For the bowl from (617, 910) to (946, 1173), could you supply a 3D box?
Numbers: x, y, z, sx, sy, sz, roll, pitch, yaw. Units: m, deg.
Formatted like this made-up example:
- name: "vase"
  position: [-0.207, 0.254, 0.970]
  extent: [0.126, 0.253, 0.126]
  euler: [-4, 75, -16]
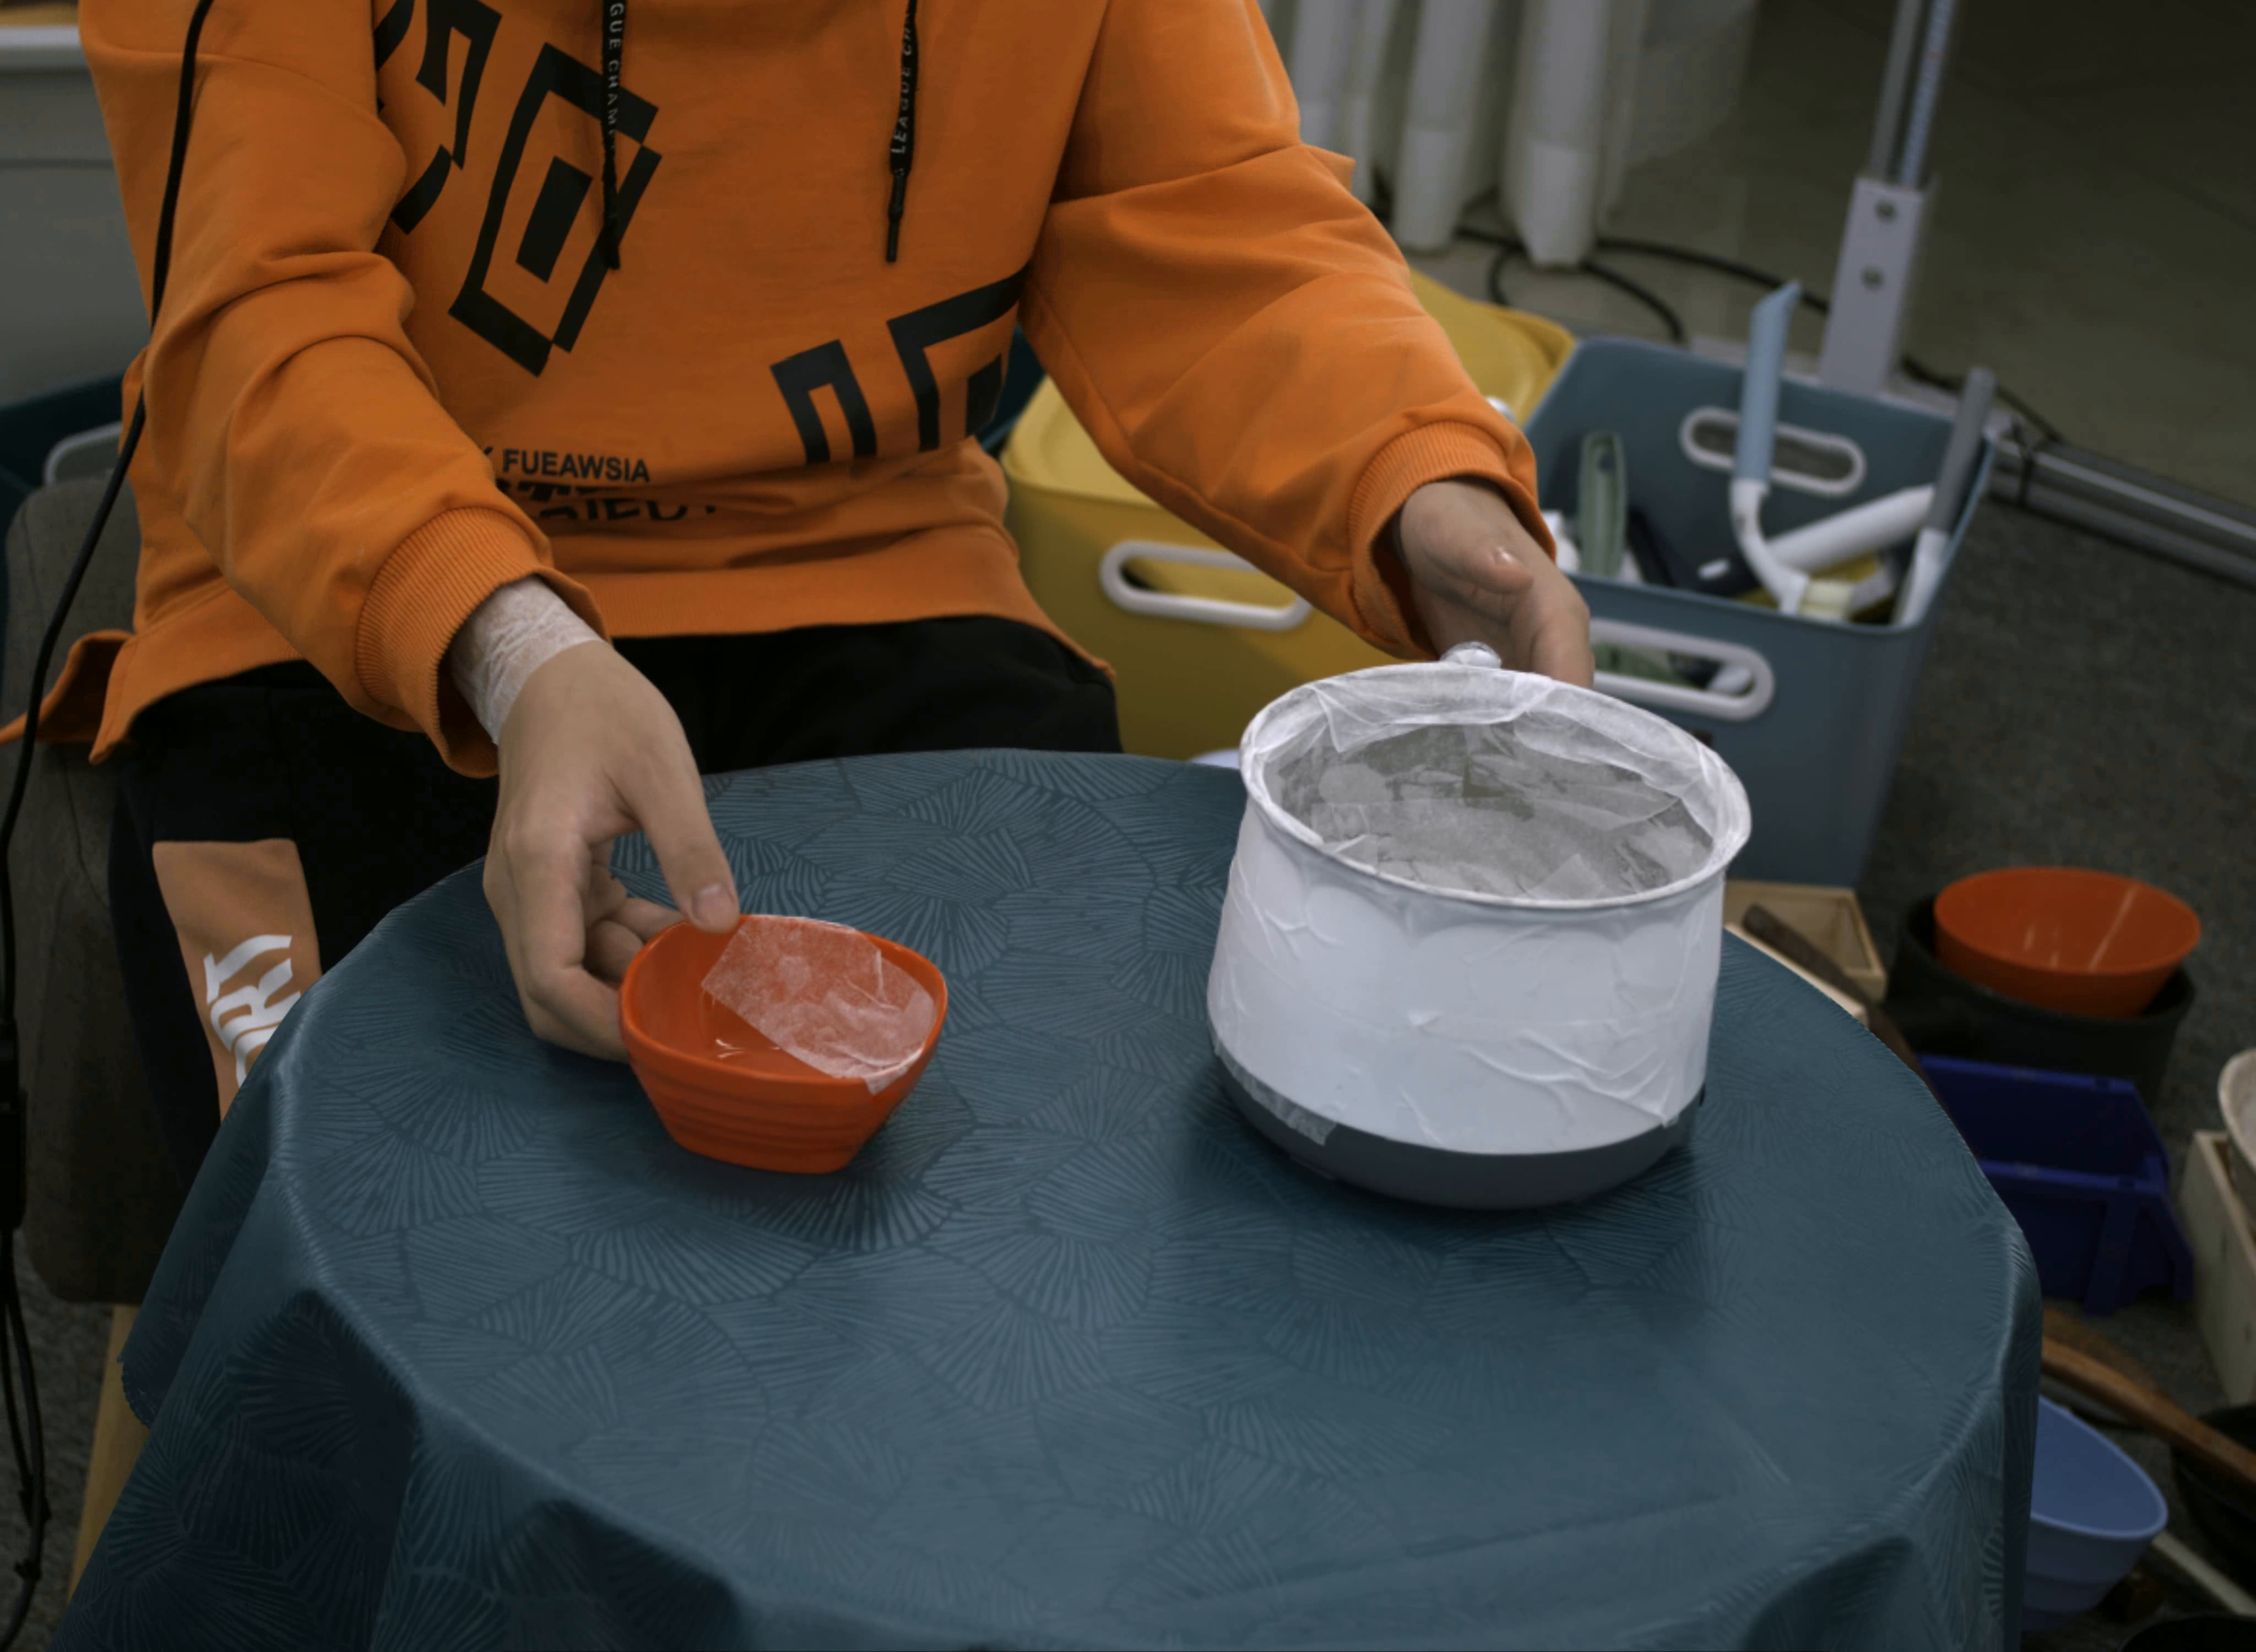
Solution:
- name: "bowl"
  position: [-0.119, 0.078, 1.809]
  extent: [0.118, 0.051, 0.119]
  euler: [4, 28, -3]

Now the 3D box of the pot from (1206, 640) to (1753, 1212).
- name: "pot"
  position: [0.117, 0.028, 1.867]
  extent: [0.178, 0.136, 0.235]
  euler: [5, 27, -5]
